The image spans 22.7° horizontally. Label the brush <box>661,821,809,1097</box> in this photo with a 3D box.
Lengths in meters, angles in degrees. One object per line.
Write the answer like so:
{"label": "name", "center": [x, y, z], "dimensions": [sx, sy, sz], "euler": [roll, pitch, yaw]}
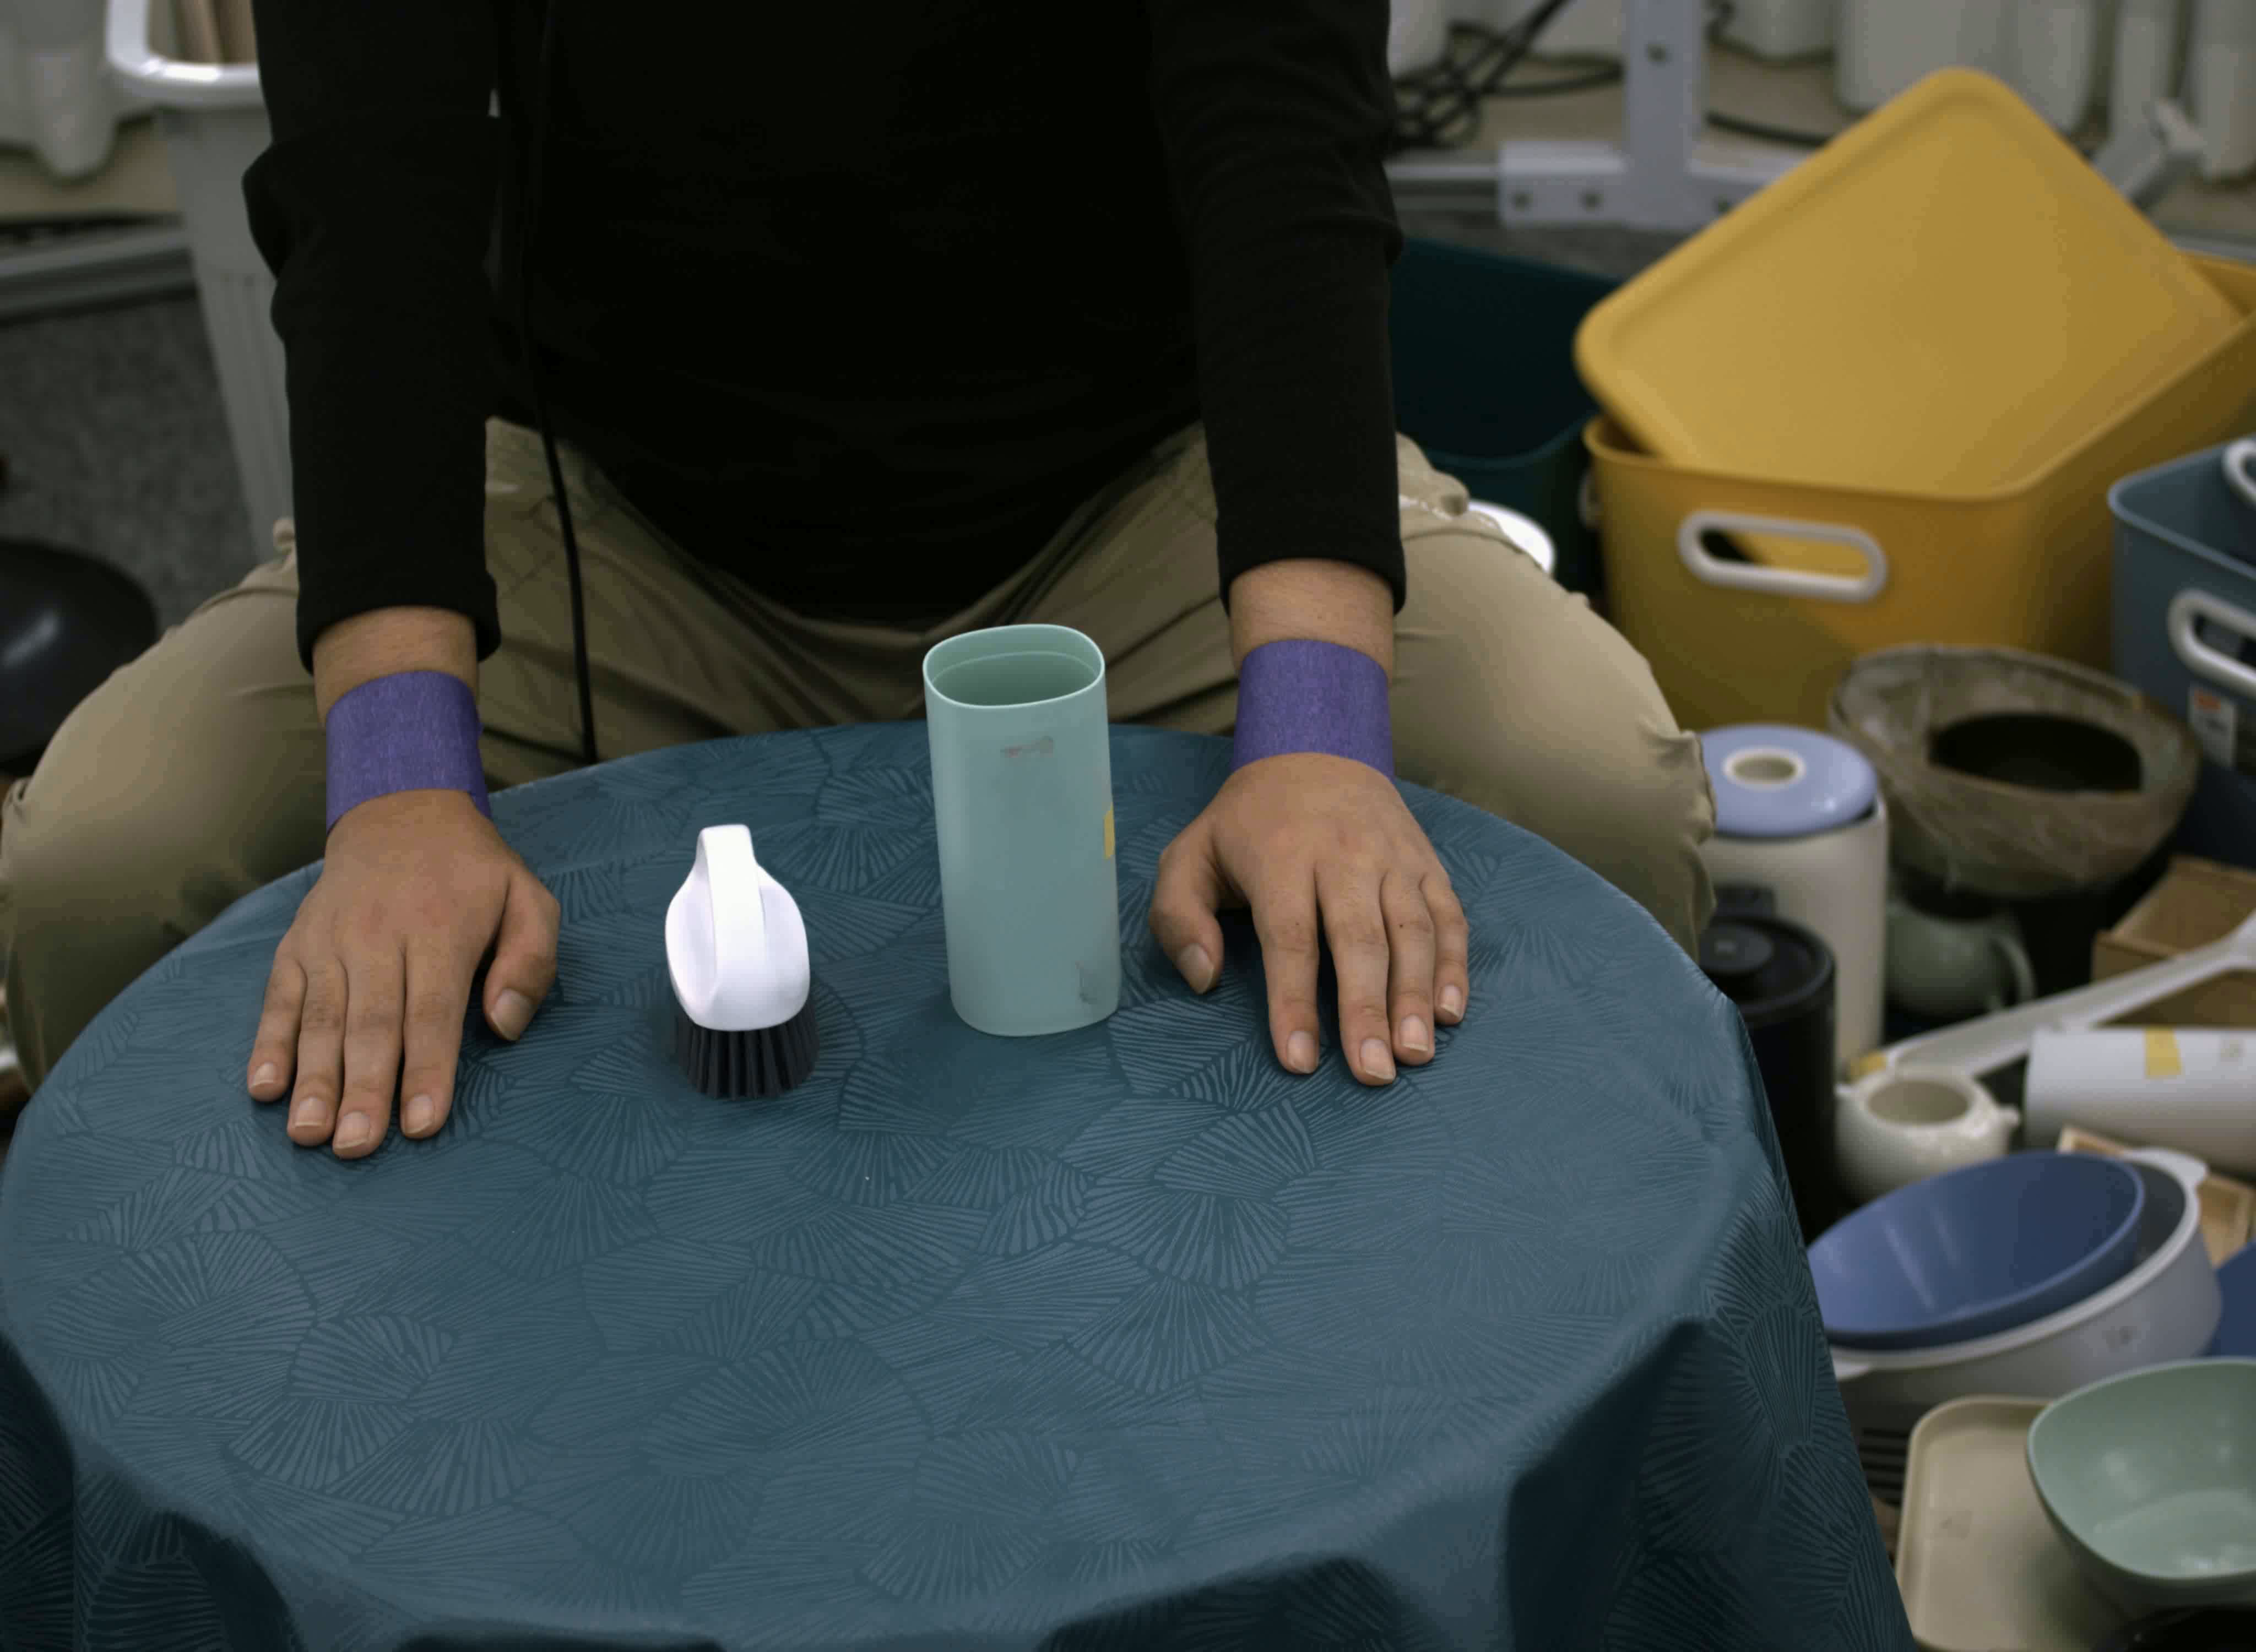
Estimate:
{"label": "brush", "center": [-0.138, 0.040, 1.954], "dimensions": [0.050, 0.072, 0.100], "euler": [-4, 28, -5]}

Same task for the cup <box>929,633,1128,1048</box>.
{"label": "cup", "center": [-0.035, 0.005, 1.957], "dimensions": [0.066, 0.131, 0.068], "euler": [-3, 27, 2]}
